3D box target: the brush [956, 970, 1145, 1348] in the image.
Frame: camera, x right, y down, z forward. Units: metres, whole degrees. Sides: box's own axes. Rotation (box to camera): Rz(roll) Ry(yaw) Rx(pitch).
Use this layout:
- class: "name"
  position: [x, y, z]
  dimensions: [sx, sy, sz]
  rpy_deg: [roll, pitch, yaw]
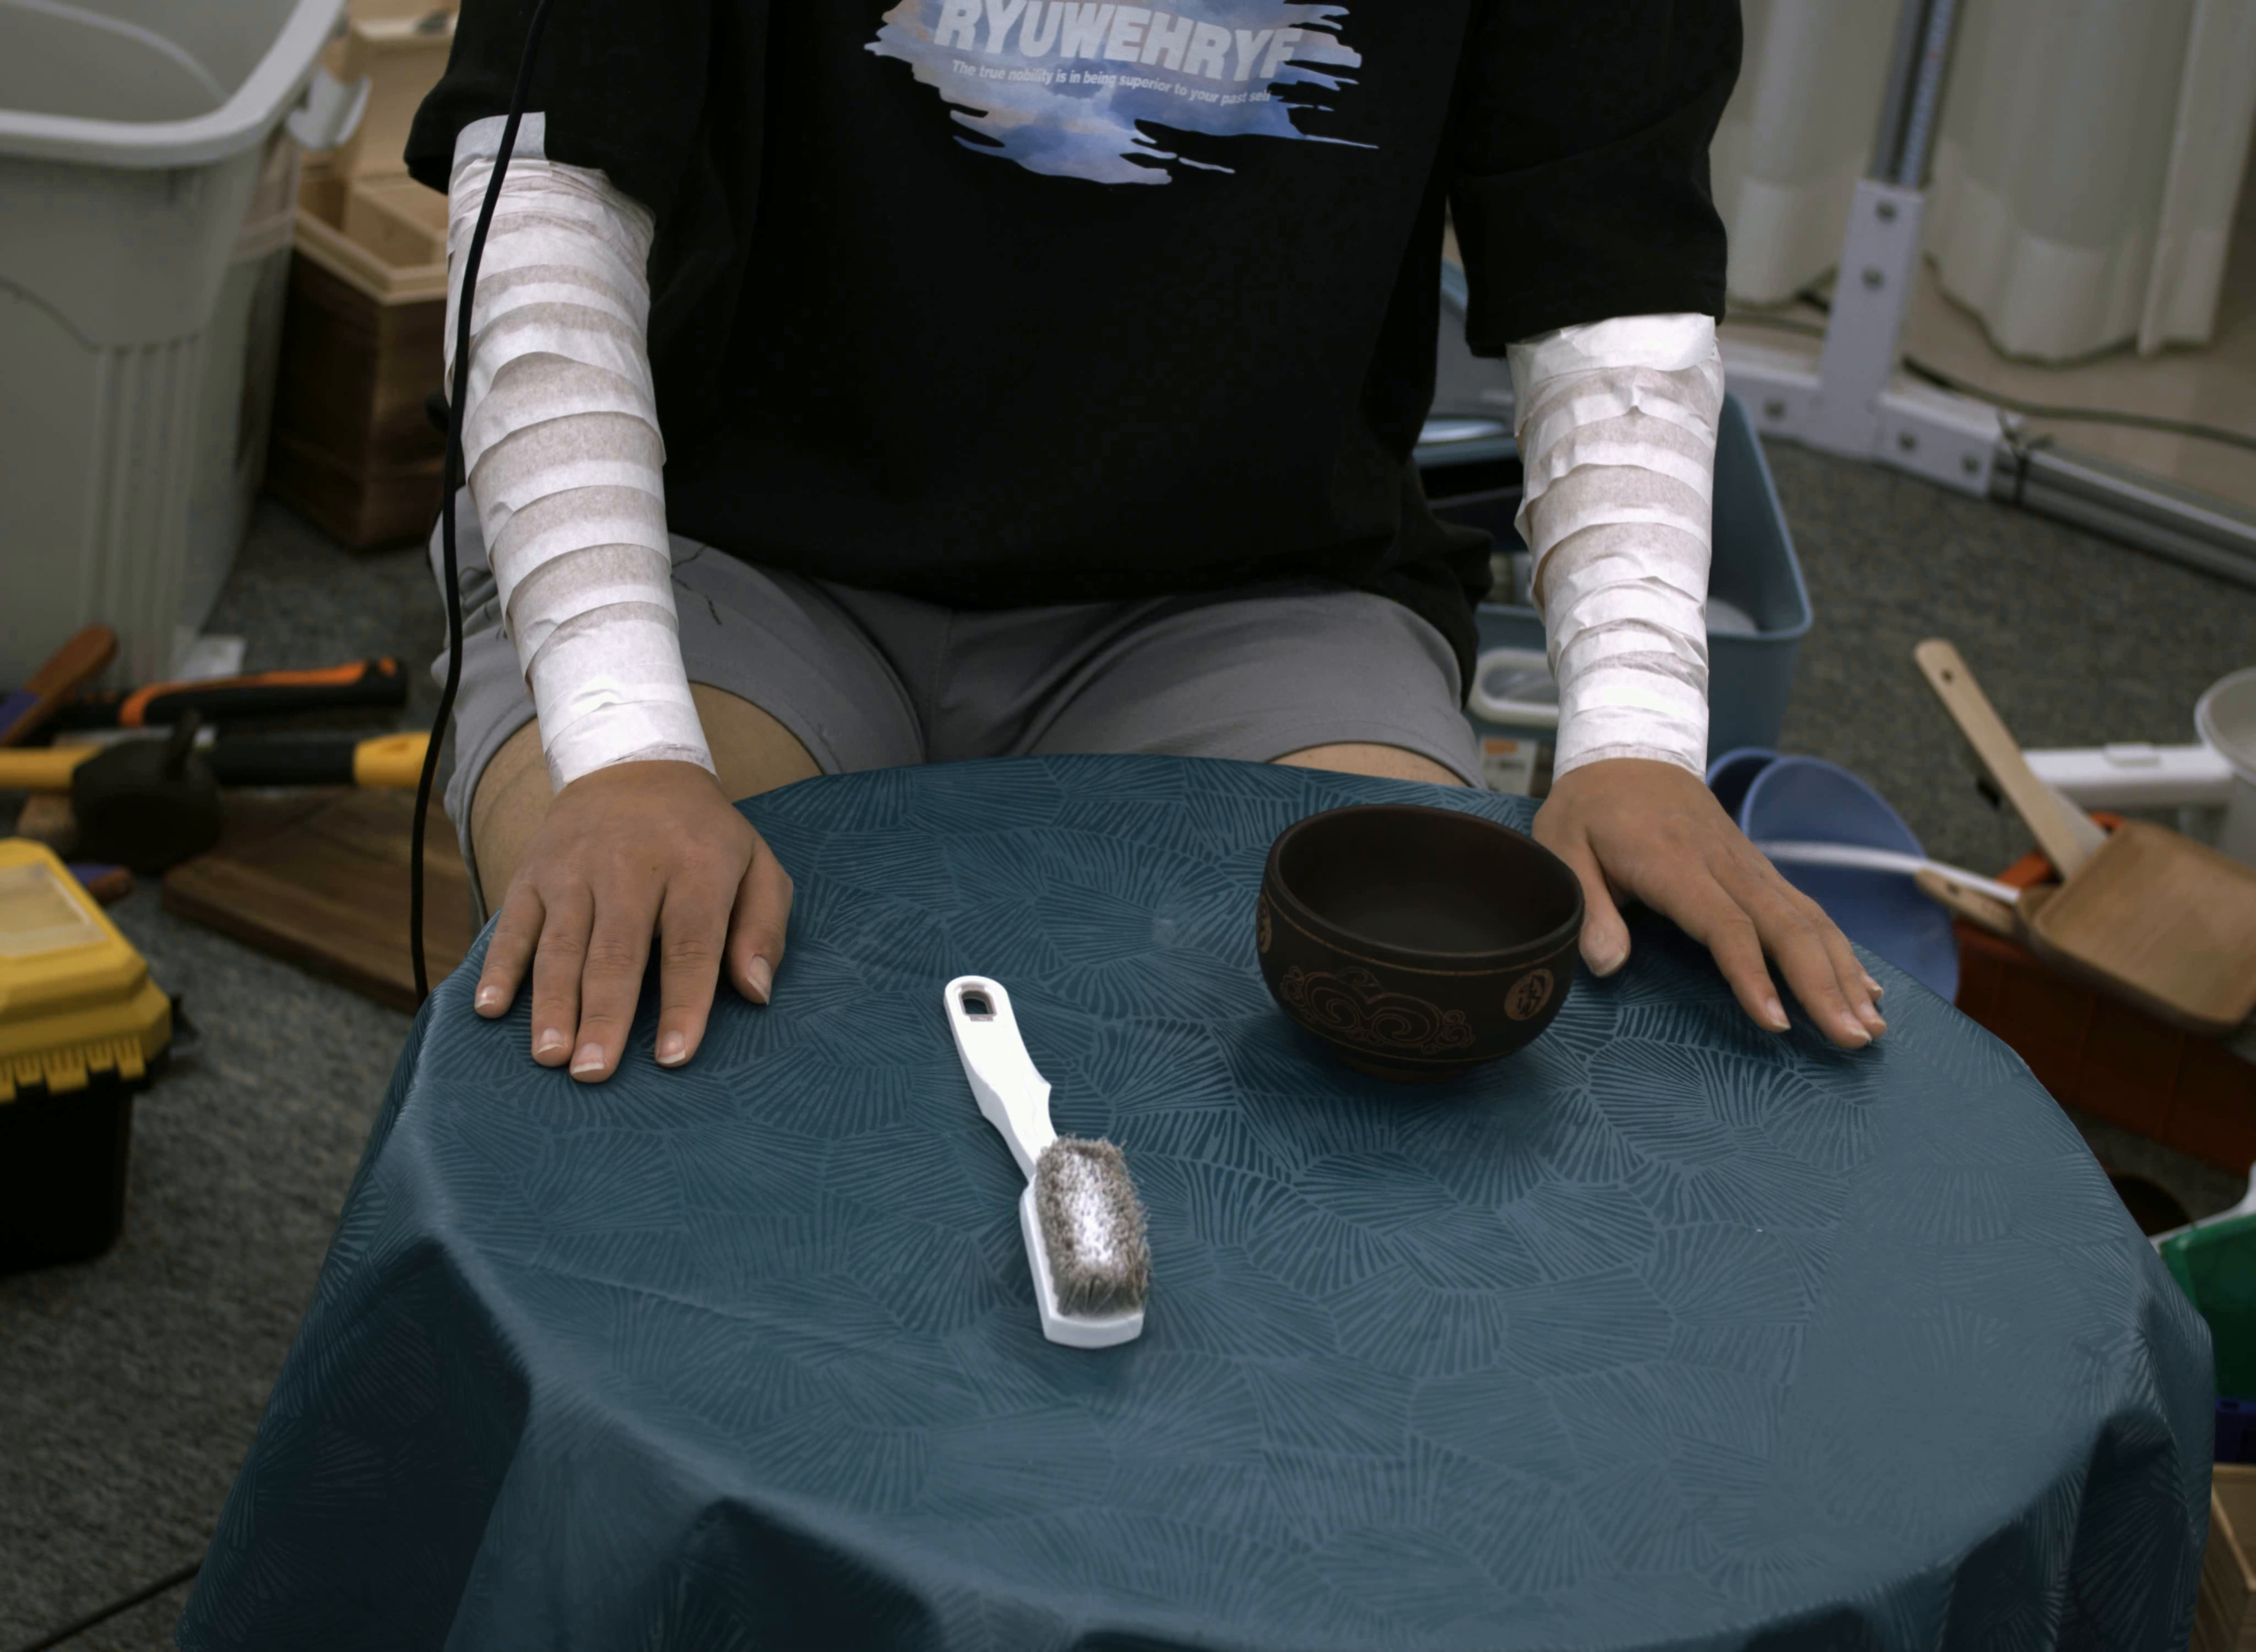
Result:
- class: "brush"
  position: [-0.029, 0.095, 1.798]
  dimensions: [0.034, 0.050, 0.245]
  rpy_deg: [1, 28, -11]

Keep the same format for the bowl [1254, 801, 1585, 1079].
- class: "bowl"
  position: [0.102, 0.047, 1.899]
  dimensions: [0.117, 0.069, 0.119]
  rpy_deg: [4, 25, -2]
